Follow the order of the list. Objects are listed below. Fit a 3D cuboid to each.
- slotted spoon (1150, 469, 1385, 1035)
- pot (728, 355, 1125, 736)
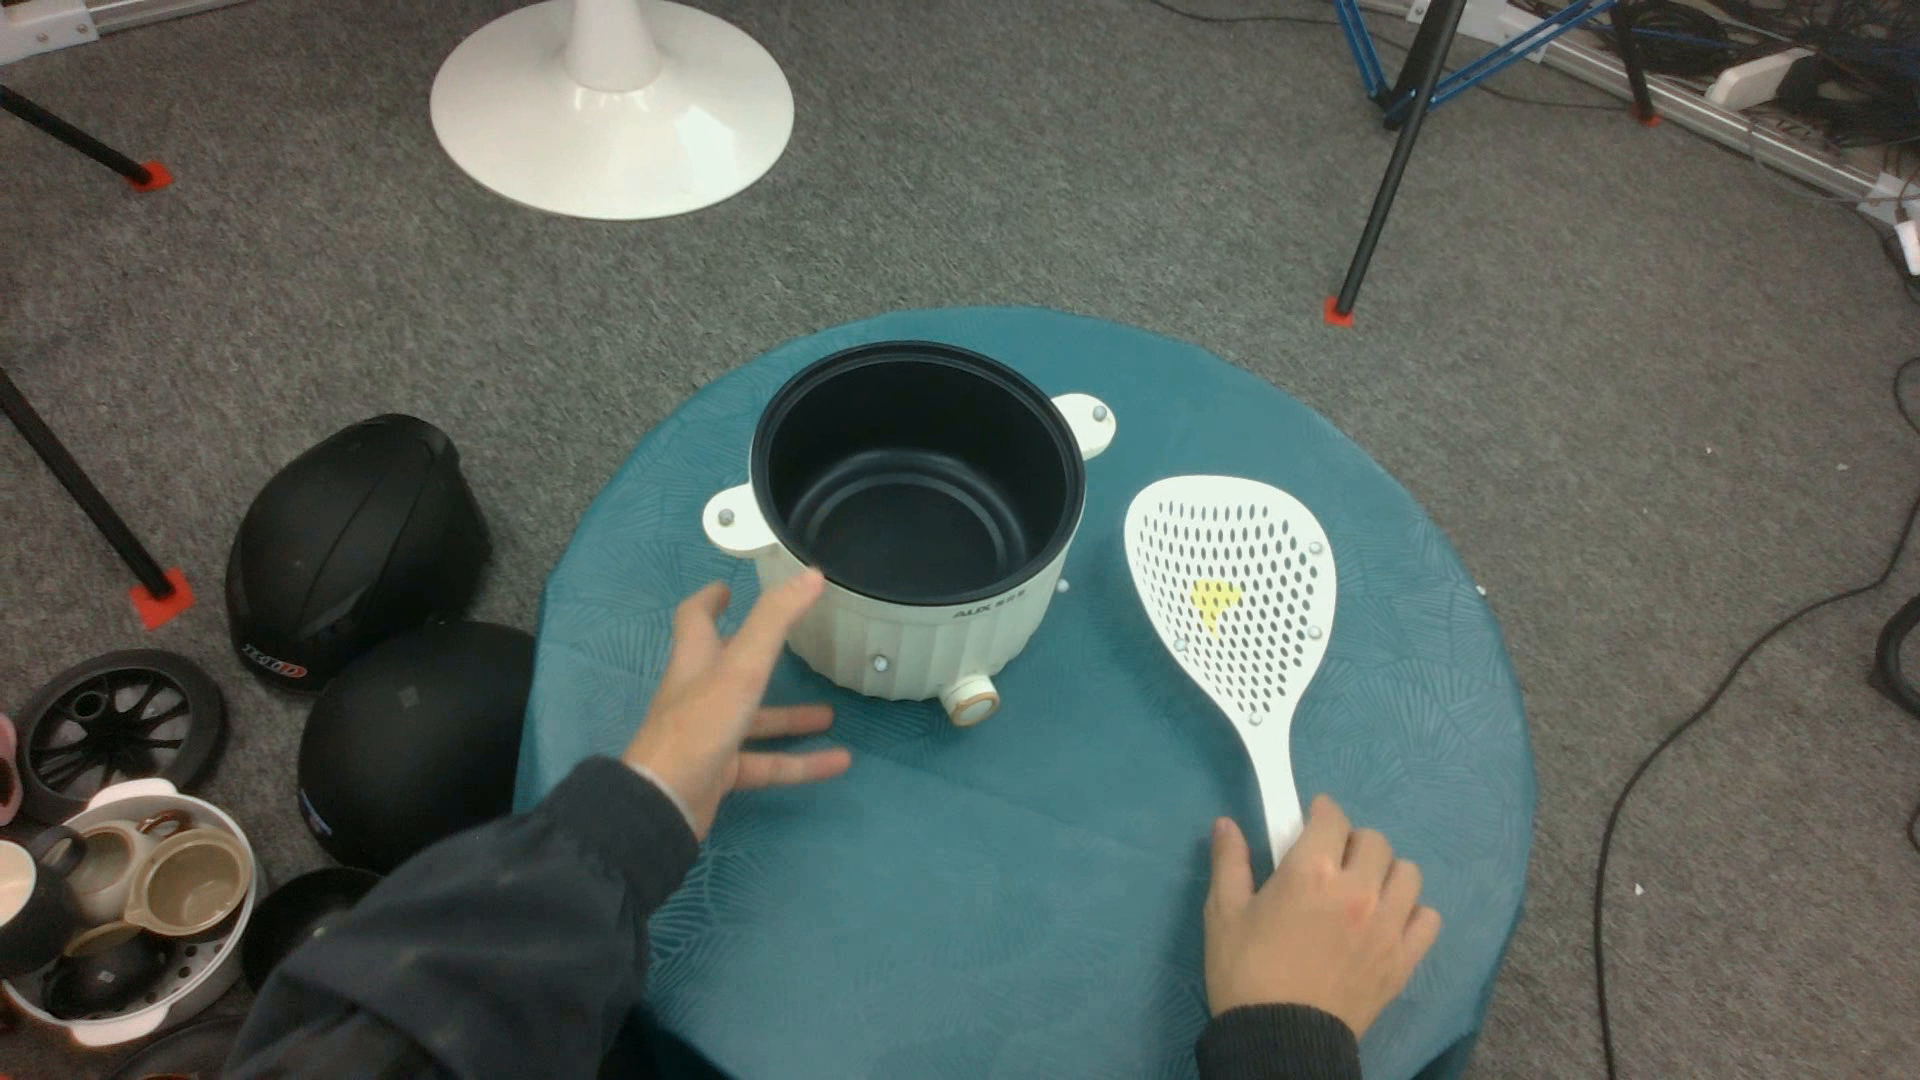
[{"bbox_3d":[0.193,0.106,0.806,0.137,0.050,0.349,2,52,-13],"label":"slotted spoon"},{"bbox_3d":[-0.013,0.009,0.801,0.241,0.142,0.191,-21,55,-18],"label":"pot"}]
